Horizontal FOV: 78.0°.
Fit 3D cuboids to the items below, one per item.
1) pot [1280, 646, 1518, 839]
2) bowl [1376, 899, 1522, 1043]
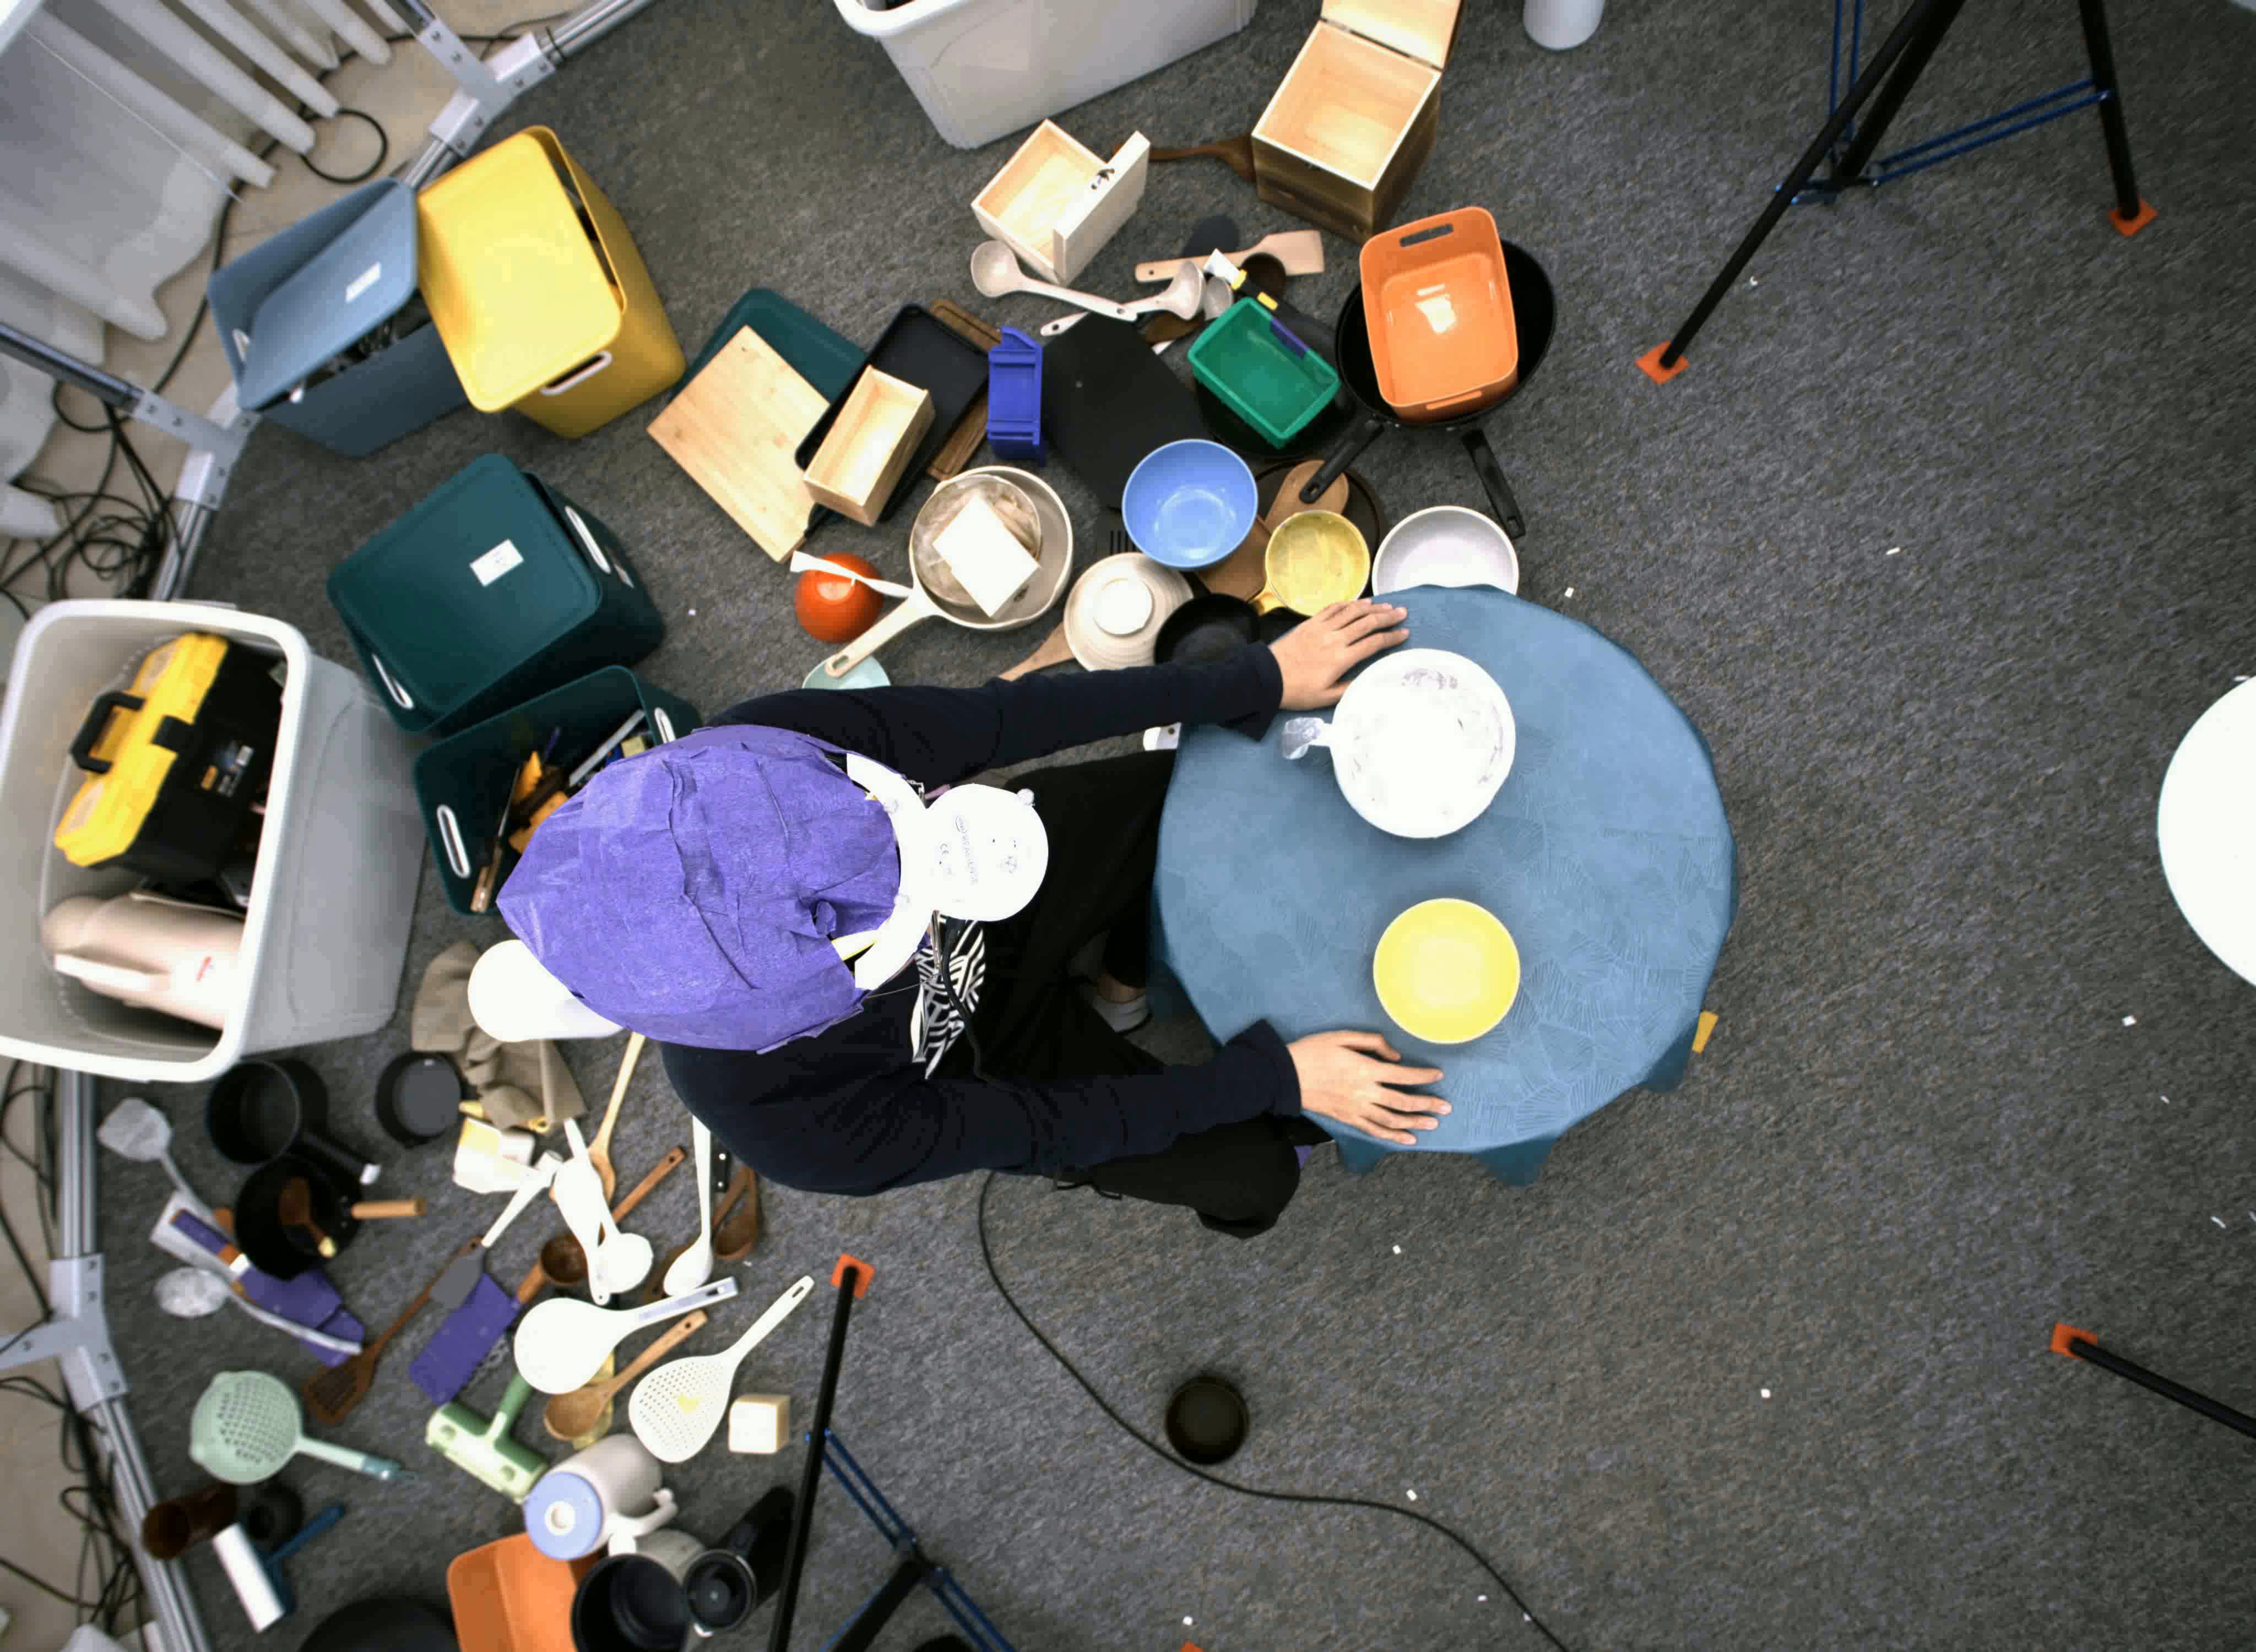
[{"bbox_3d":[0.270,-0.083,1.398,0.234,0.137,0.177,5,84,10],"label":"pot"},{"bbox_3d":[0.328,0.146,1.413,0.146,0.060,0.145,-1,88,12],"label":"bowl"}]
